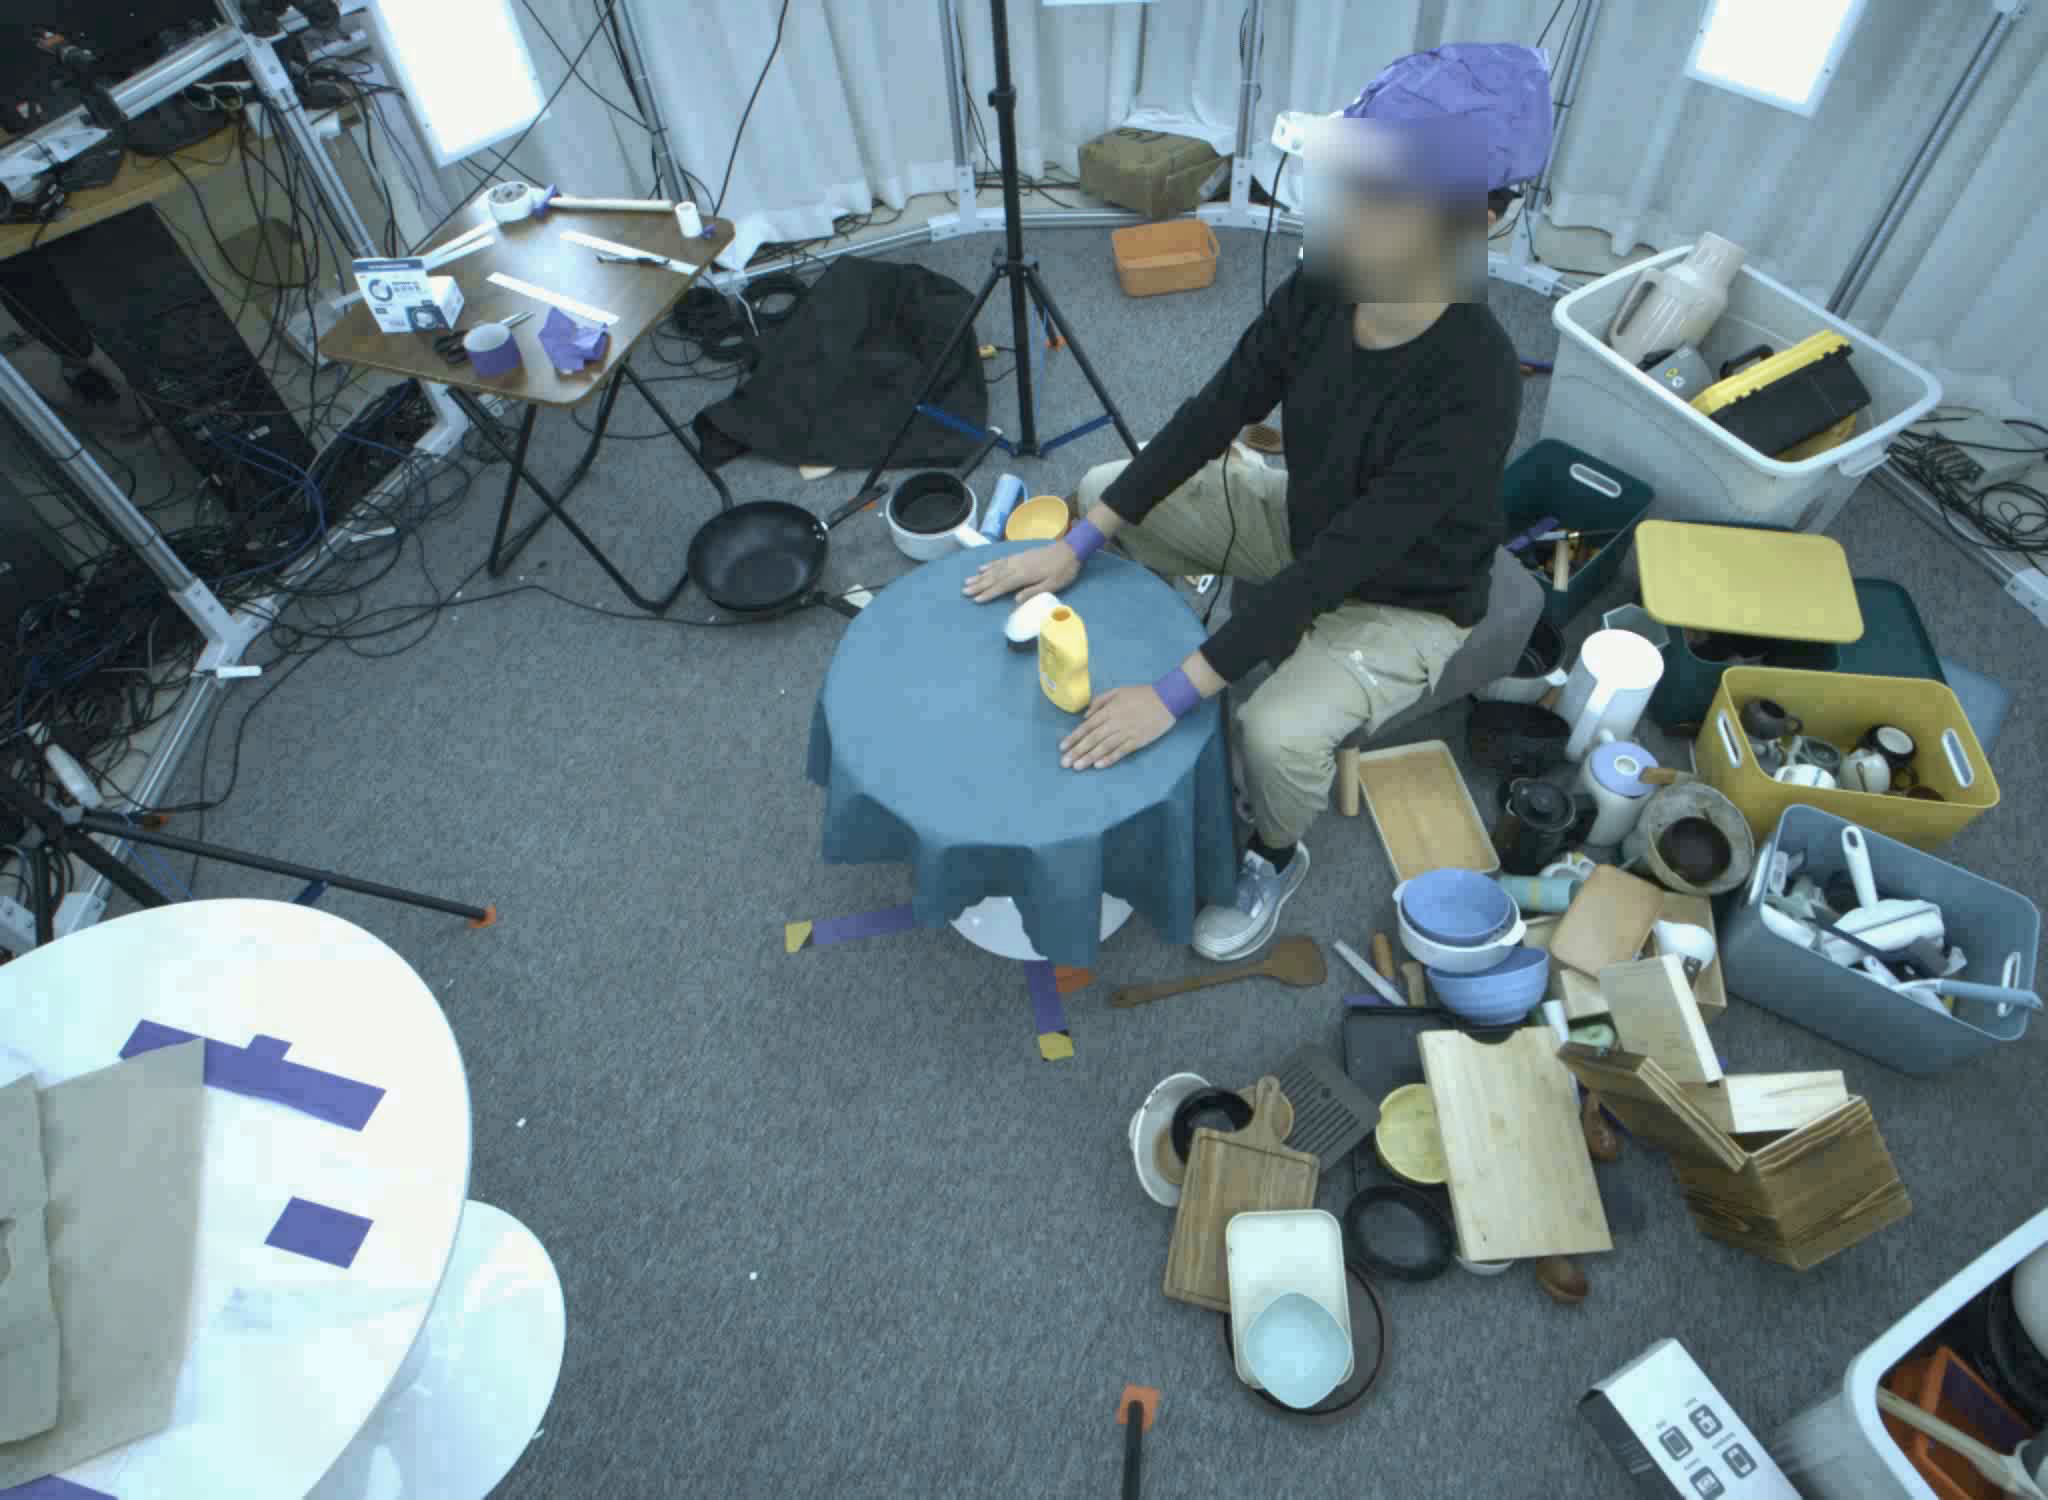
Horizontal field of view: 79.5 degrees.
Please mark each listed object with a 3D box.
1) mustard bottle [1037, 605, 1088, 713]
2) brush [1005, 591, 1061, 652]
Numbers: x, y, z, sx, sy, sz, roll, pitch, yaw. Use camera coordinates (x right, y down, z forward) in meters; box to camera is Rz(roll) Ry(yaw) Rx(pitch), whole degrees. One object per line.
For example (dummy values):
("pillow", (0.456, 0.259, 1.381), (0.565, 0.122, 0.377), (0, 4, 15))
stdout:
("mustard bottle", (0.055, -0.139, 1.782), (0.060, 0.174, 0.096), (-30, 56, -20))
("brush", (0.014, -0.205, 1.889), (0.100, 0.073, 0.049), (-34, 61, -18))
